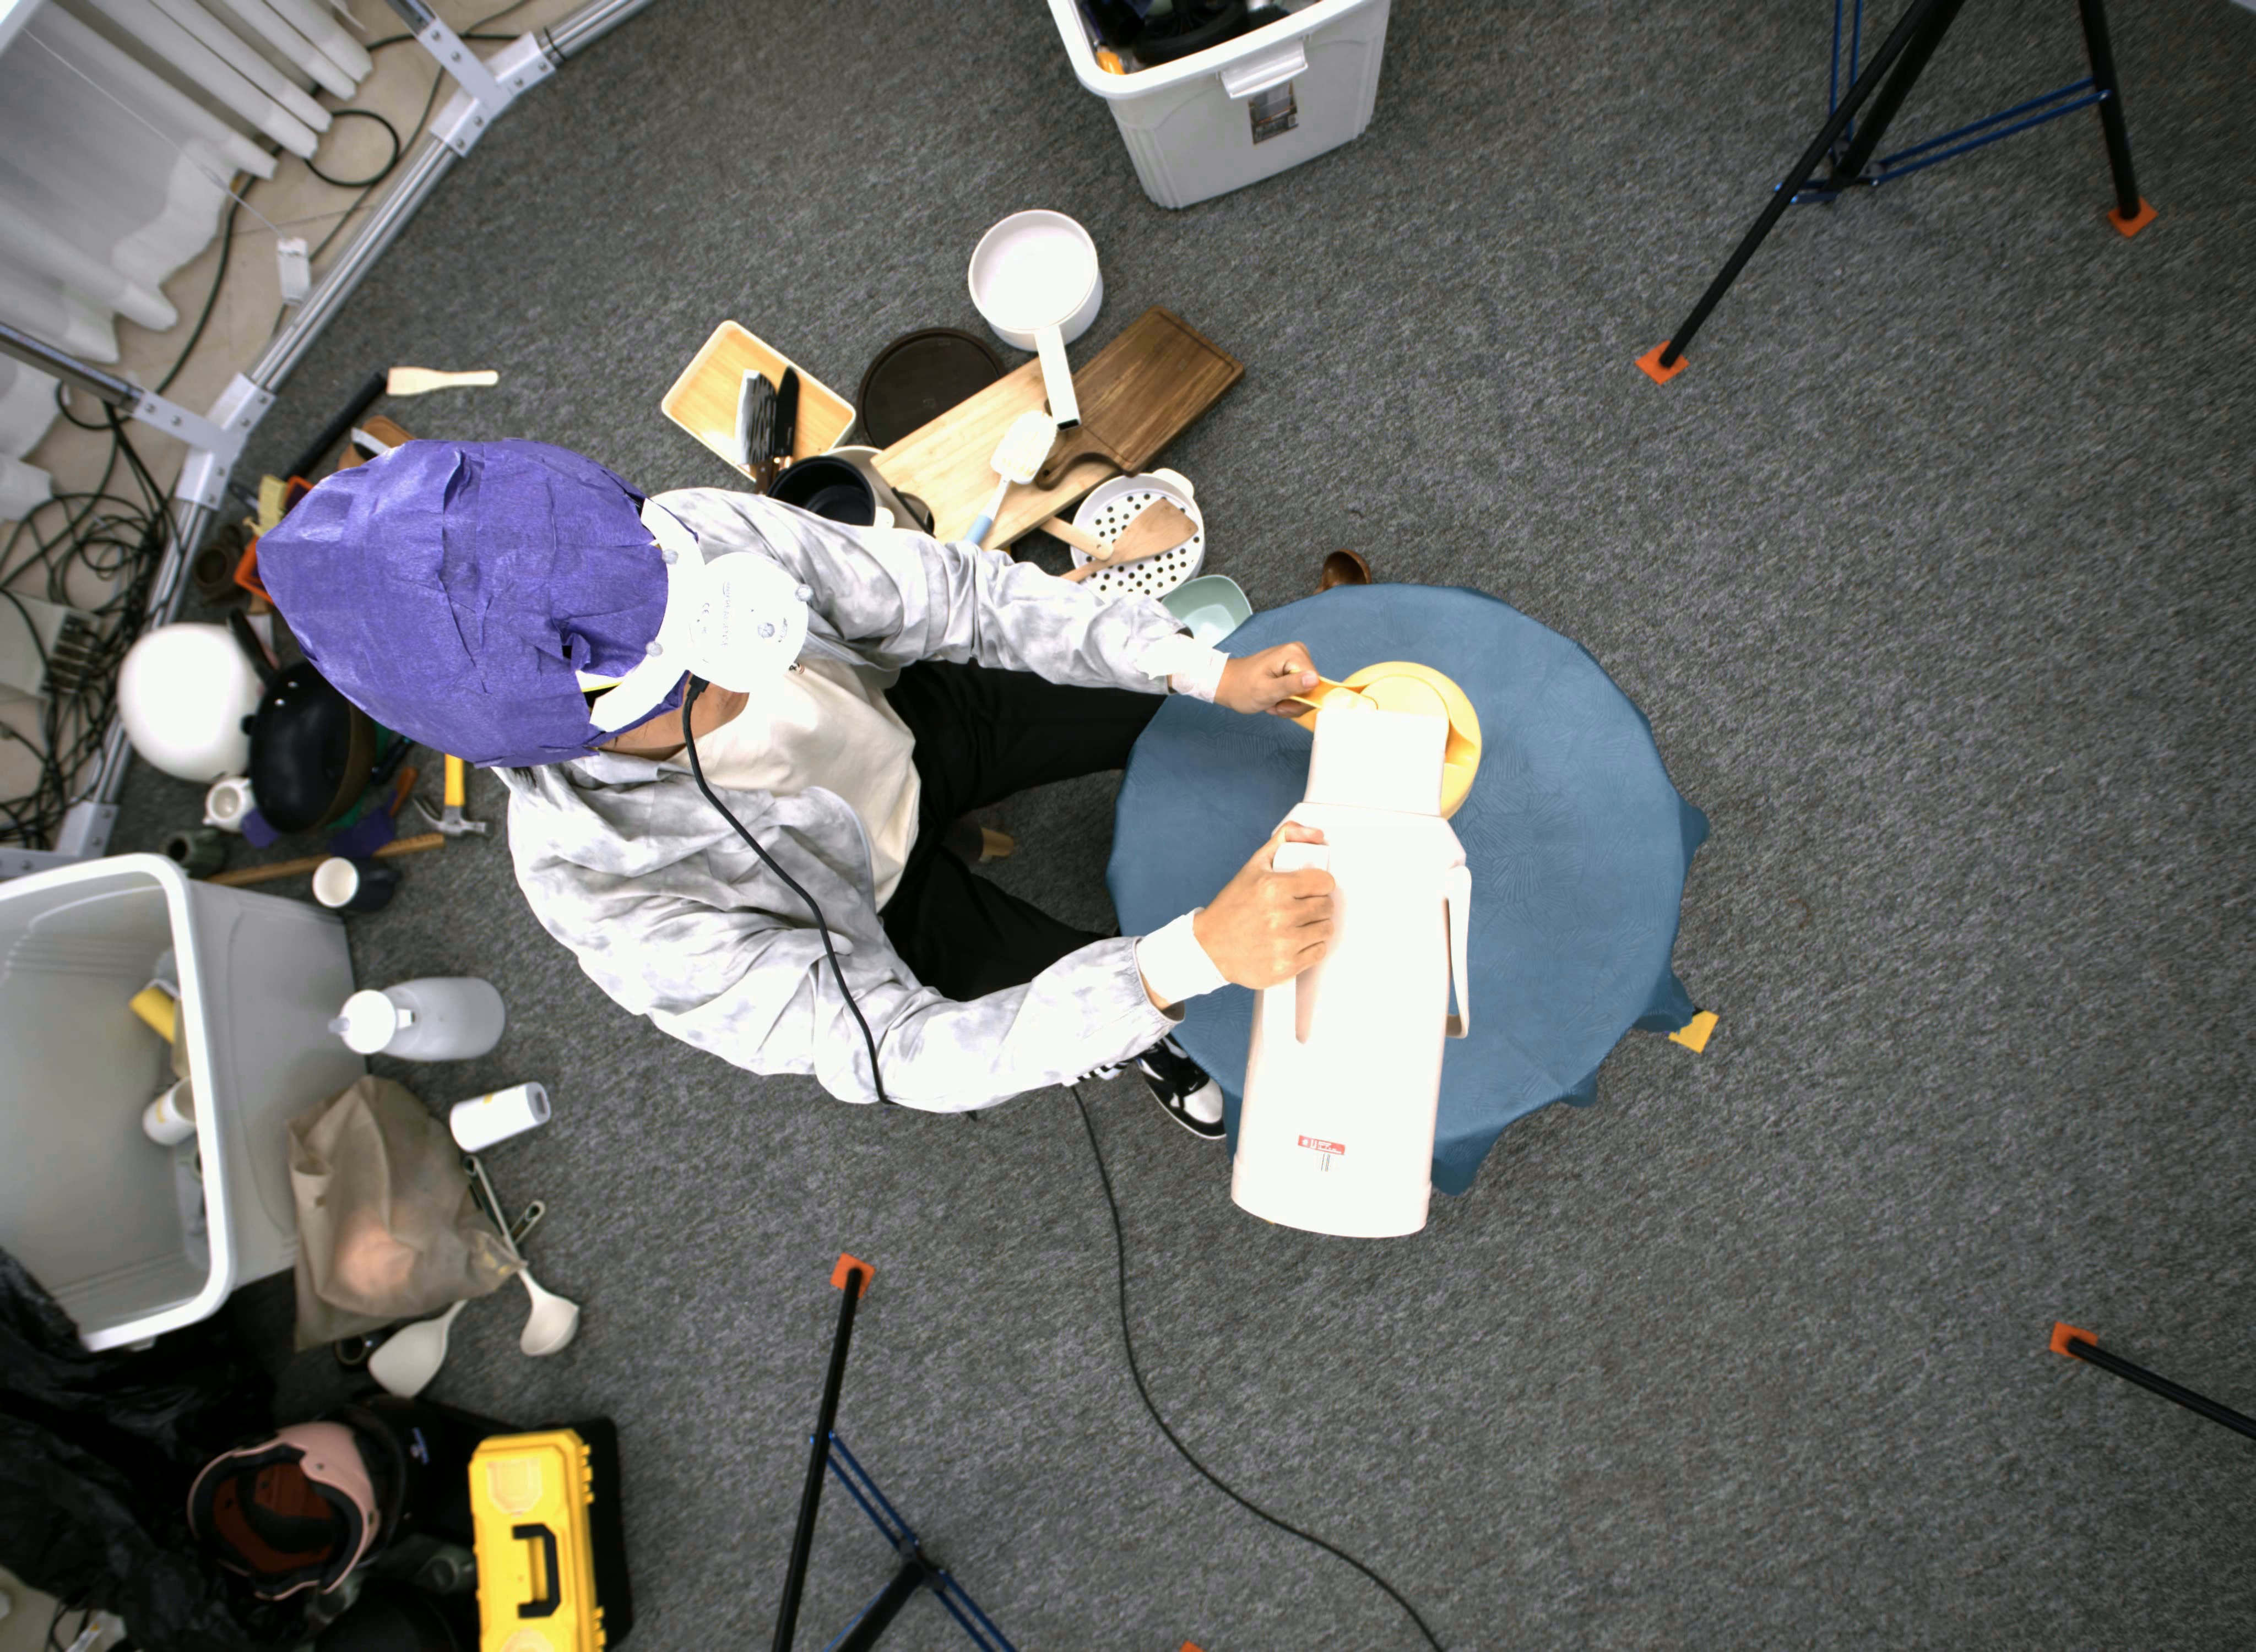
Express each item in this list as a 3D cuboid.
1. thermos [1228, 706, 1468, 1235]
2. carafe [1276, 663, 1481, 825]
[{"bbox_3d":[0.170,0.109,1.104,0.176,0.206,0.407,10,94,40],"label":"thermos"},{"bbox_3d":[0.243,-0.087,1.339,0.202,0.261,0.163,26,87,10],"label":"carafe"}]
